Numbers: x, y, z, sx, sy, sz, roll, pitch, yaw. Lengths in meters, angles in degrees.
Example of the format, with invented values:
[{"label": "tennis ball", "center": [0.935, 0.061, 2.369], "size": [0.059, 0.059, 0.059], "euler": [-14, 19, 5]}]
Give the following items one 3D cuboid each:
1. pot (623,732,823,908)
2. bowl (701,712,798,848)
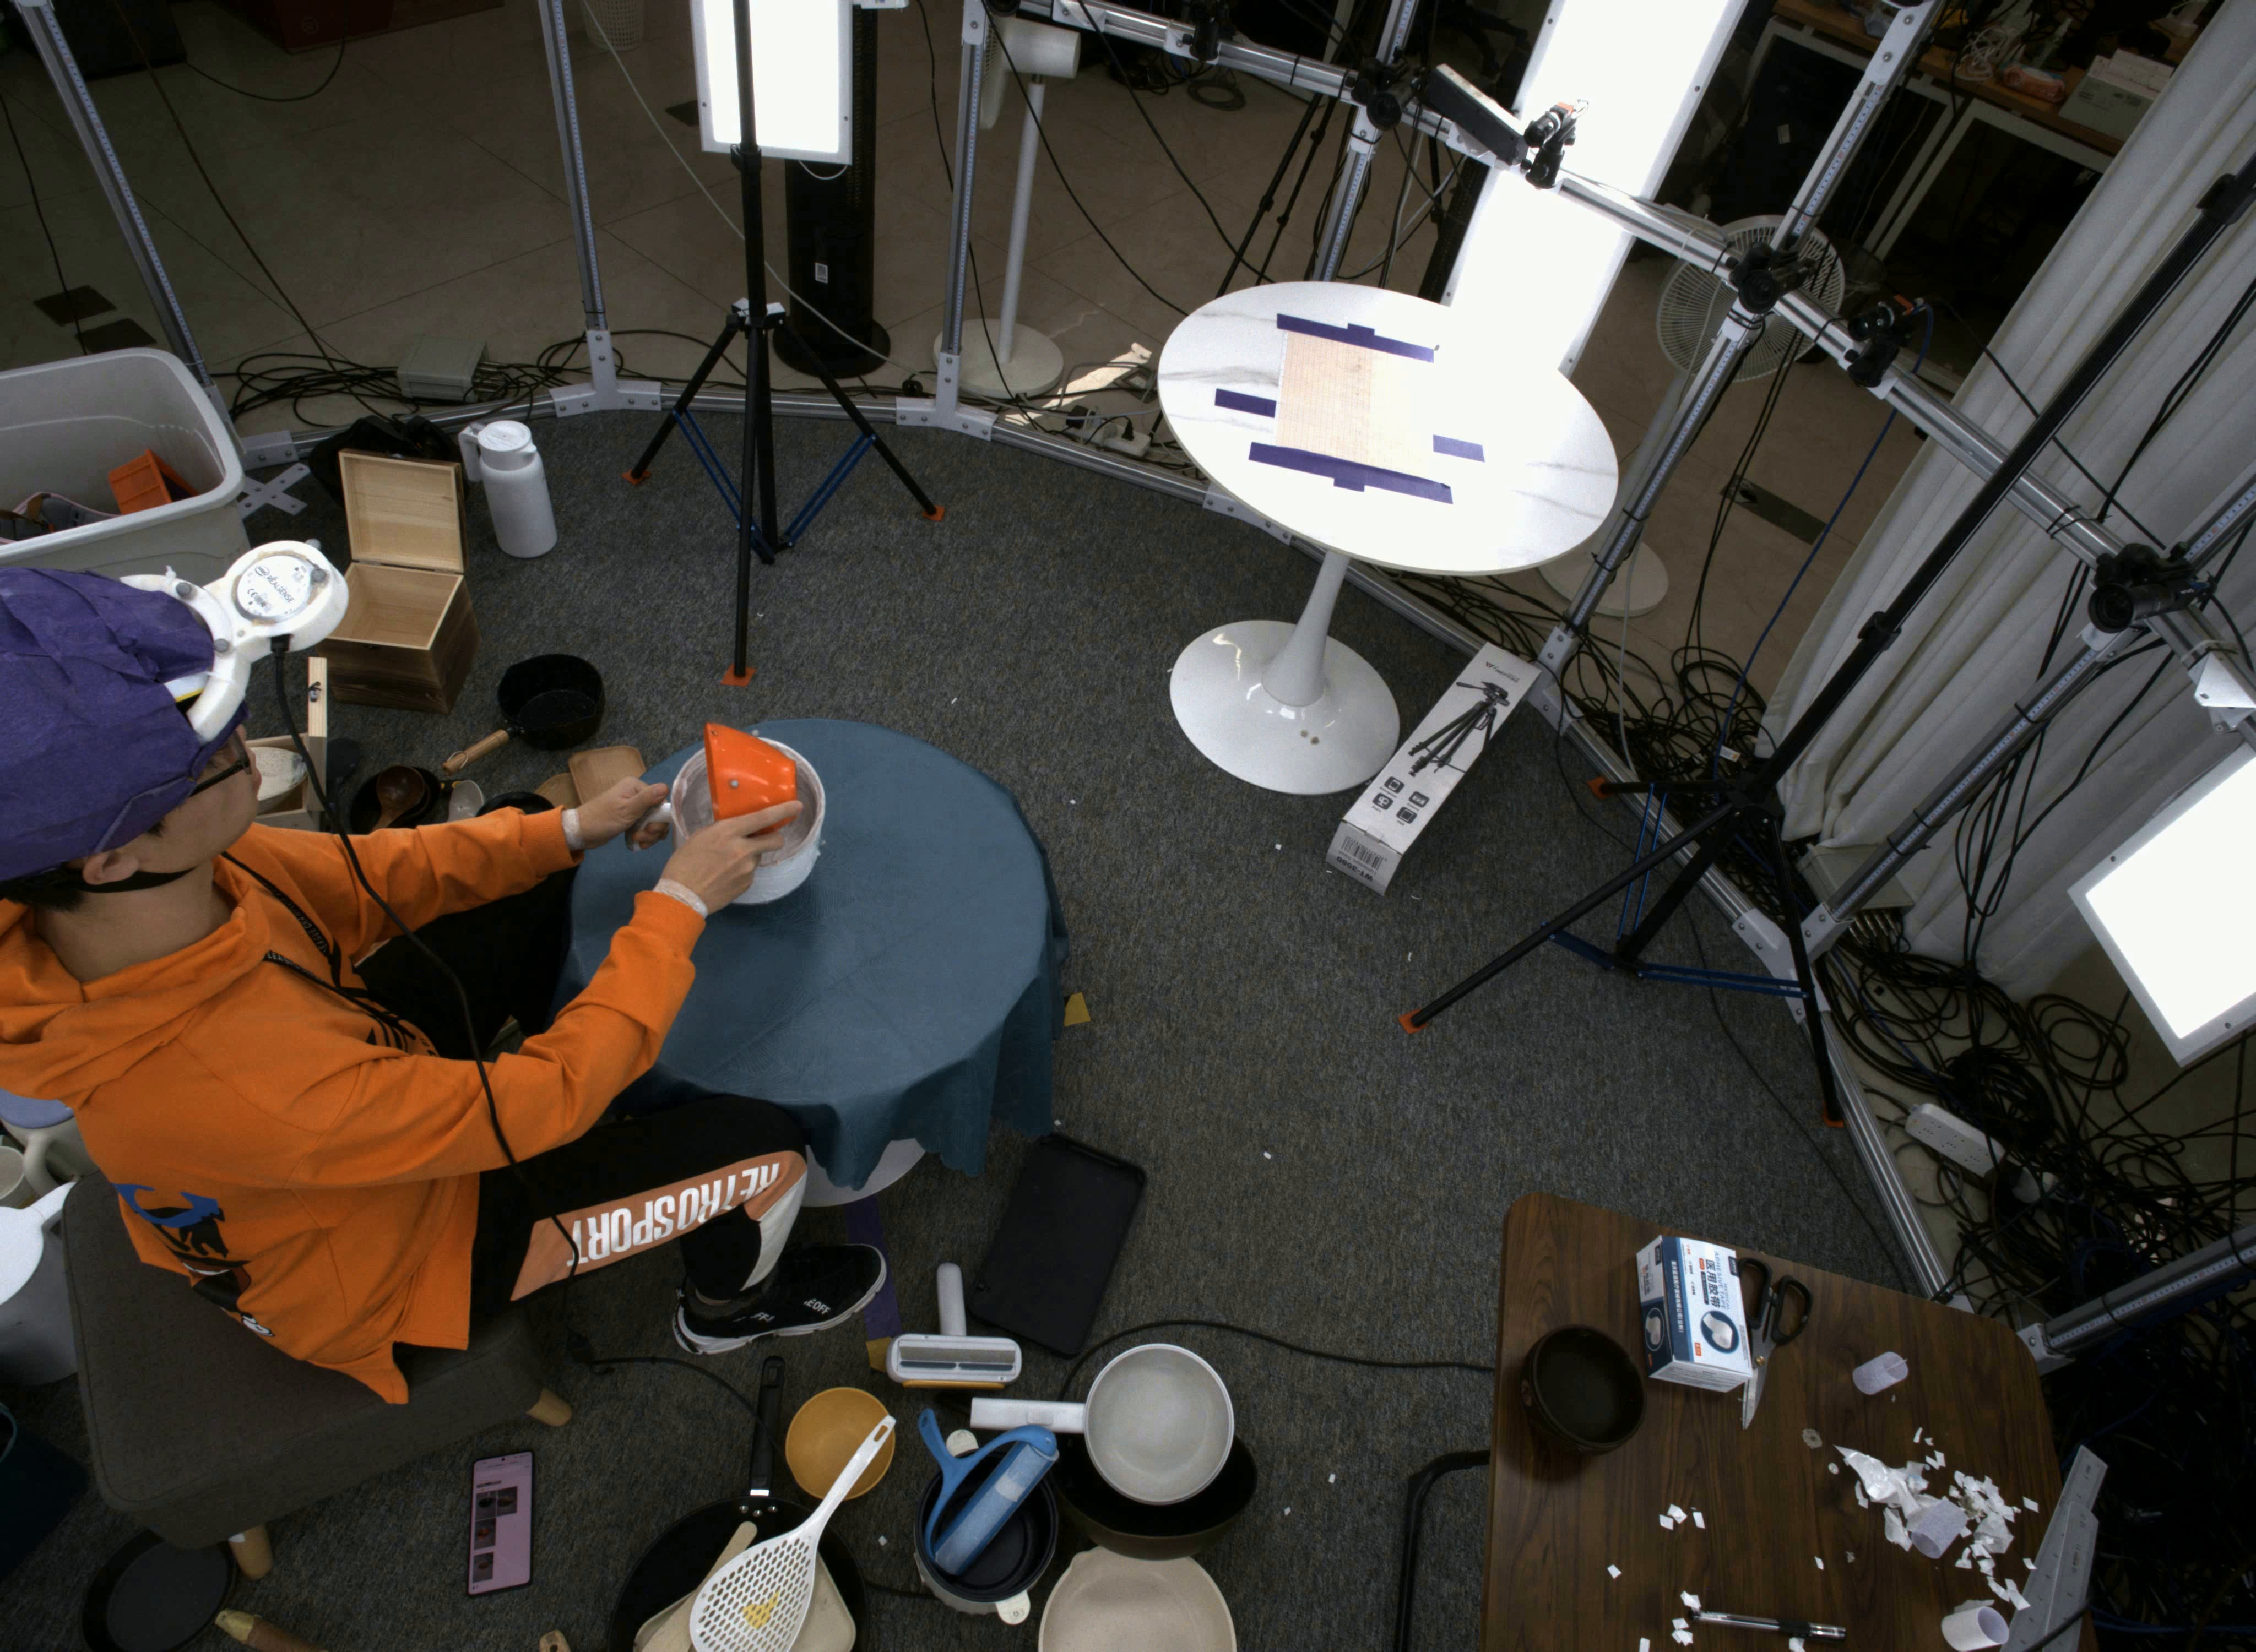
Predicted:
[{"label": "pot", "center": [-0.486, -0.004, 1.542], "size": [0.235, 0.138, 0.176], "euler": [0, 63, -20]}, {"label": "bowl", "center": [-0.422, -0.053, 1.439], "size": [0.105, 0.151, 0.144], "euler": [-2, 53, -15]}]
